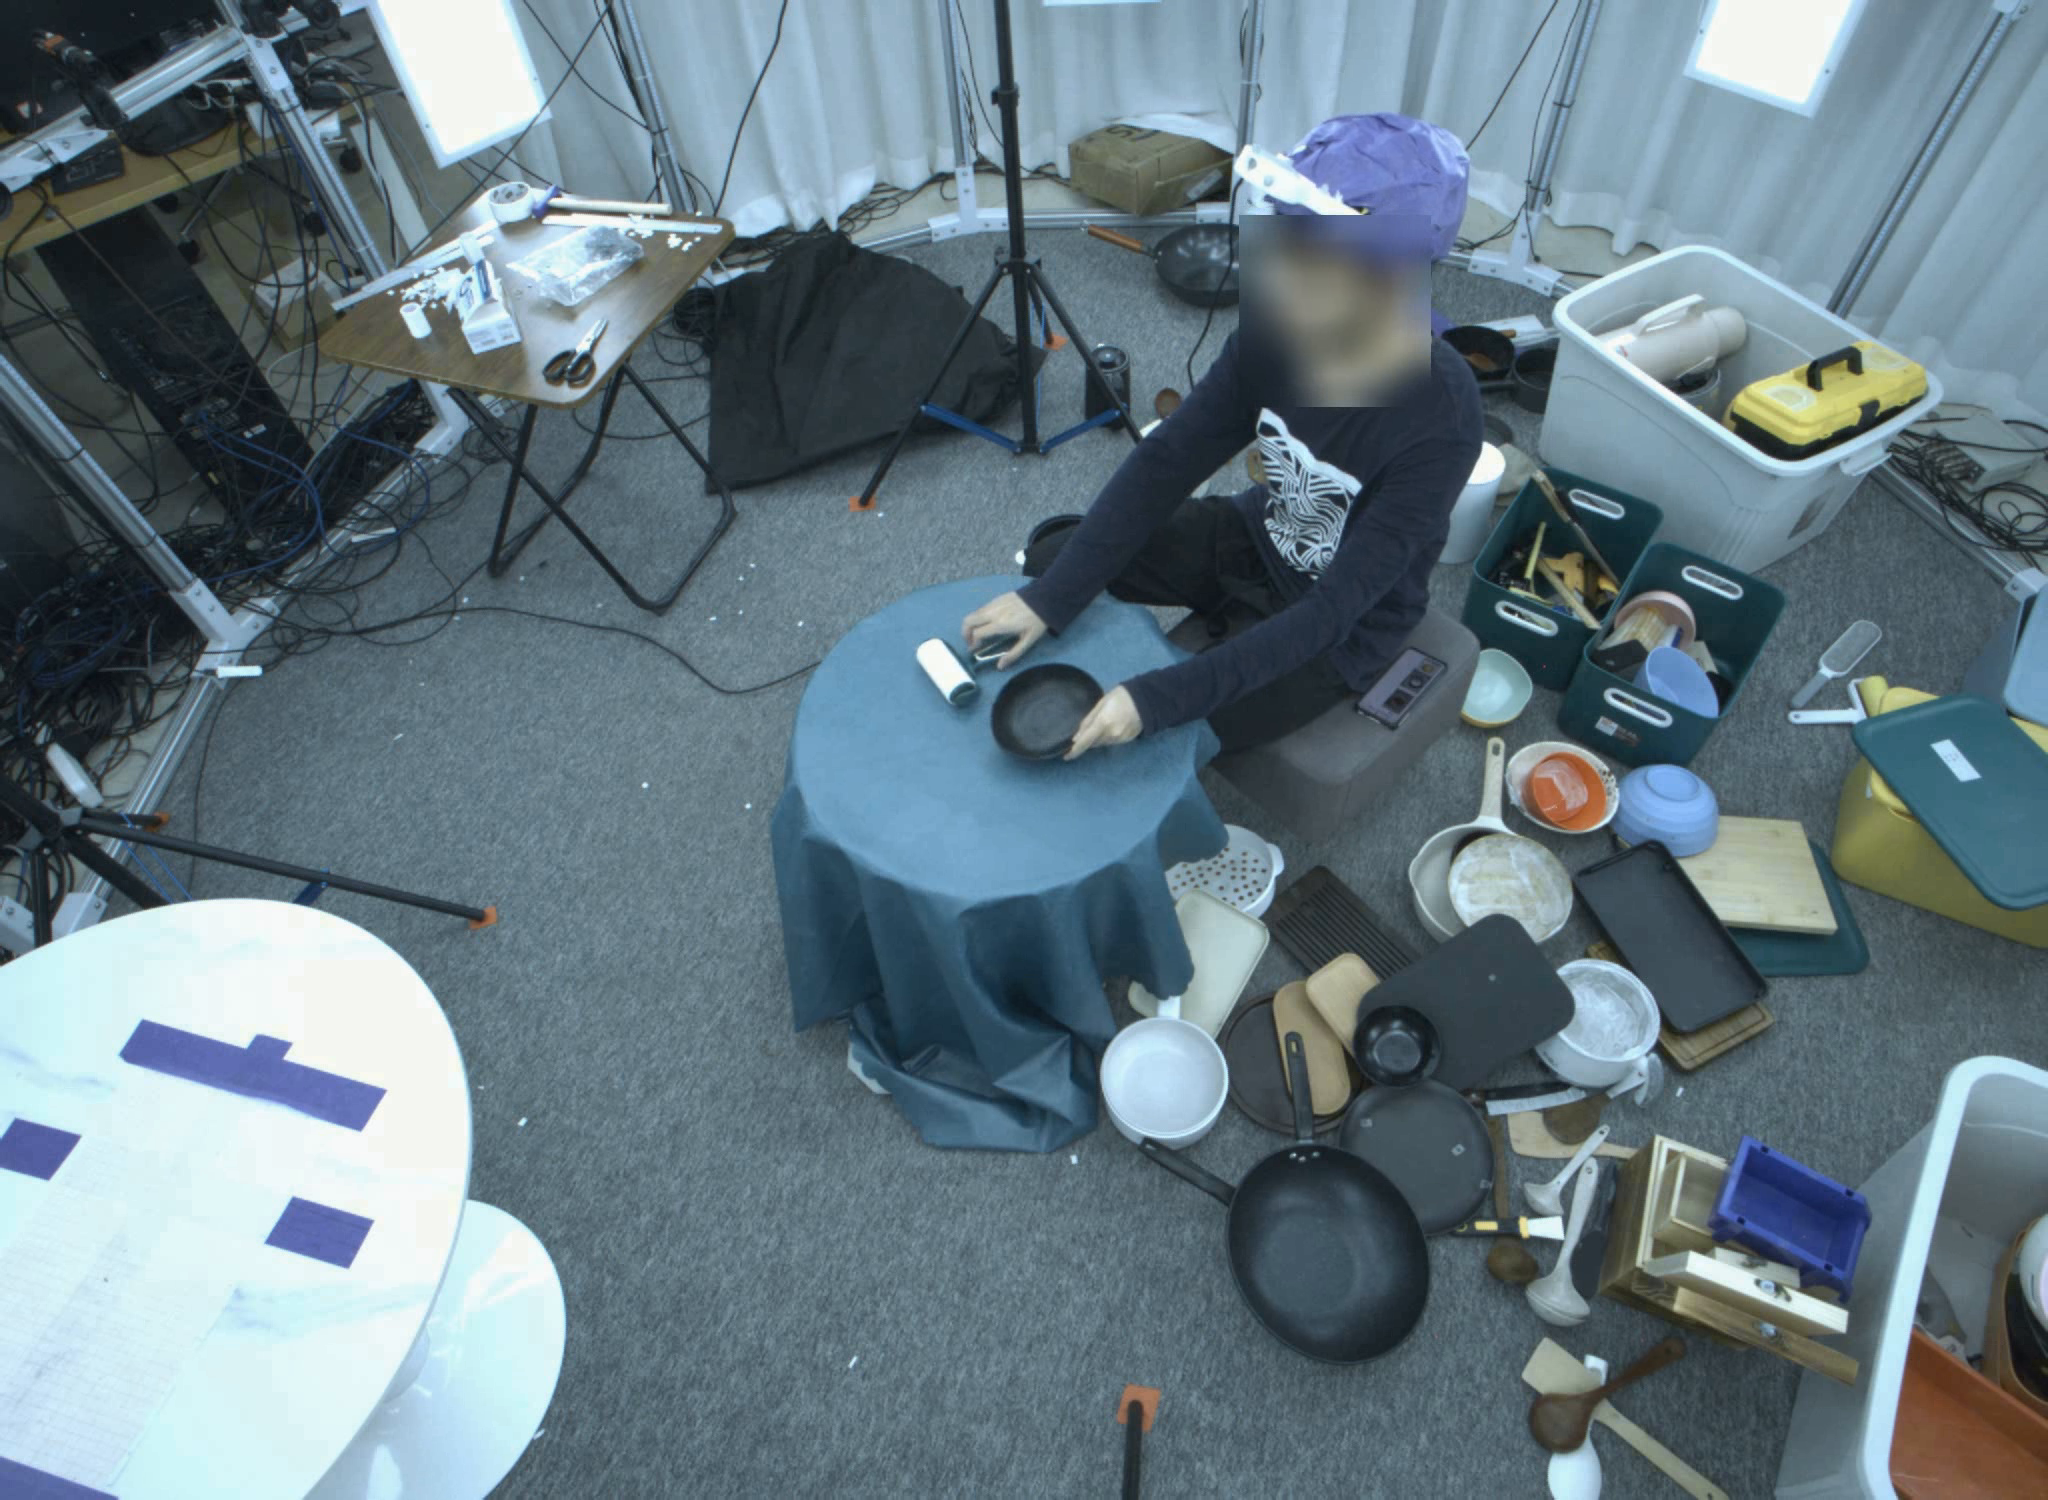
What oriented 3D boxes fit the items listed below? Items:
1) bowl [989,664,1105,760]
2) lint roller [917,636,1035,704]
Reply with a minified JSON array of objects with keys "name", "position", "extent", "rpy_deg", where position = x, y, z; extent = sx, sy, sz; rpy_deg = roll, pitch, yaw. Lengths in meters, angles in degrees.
[{"name":"bowl","position":[0.034,-0.051,1.776],"extent":[0.170,0.067,0.136],"rpy_deg":[-26,77,-3]},{"name":"lint roller","position":[-0.062,-0.148,1.877],"extent":[0.182,0.049,0.132],"rpy_deg":[-26,58,-20]}]
